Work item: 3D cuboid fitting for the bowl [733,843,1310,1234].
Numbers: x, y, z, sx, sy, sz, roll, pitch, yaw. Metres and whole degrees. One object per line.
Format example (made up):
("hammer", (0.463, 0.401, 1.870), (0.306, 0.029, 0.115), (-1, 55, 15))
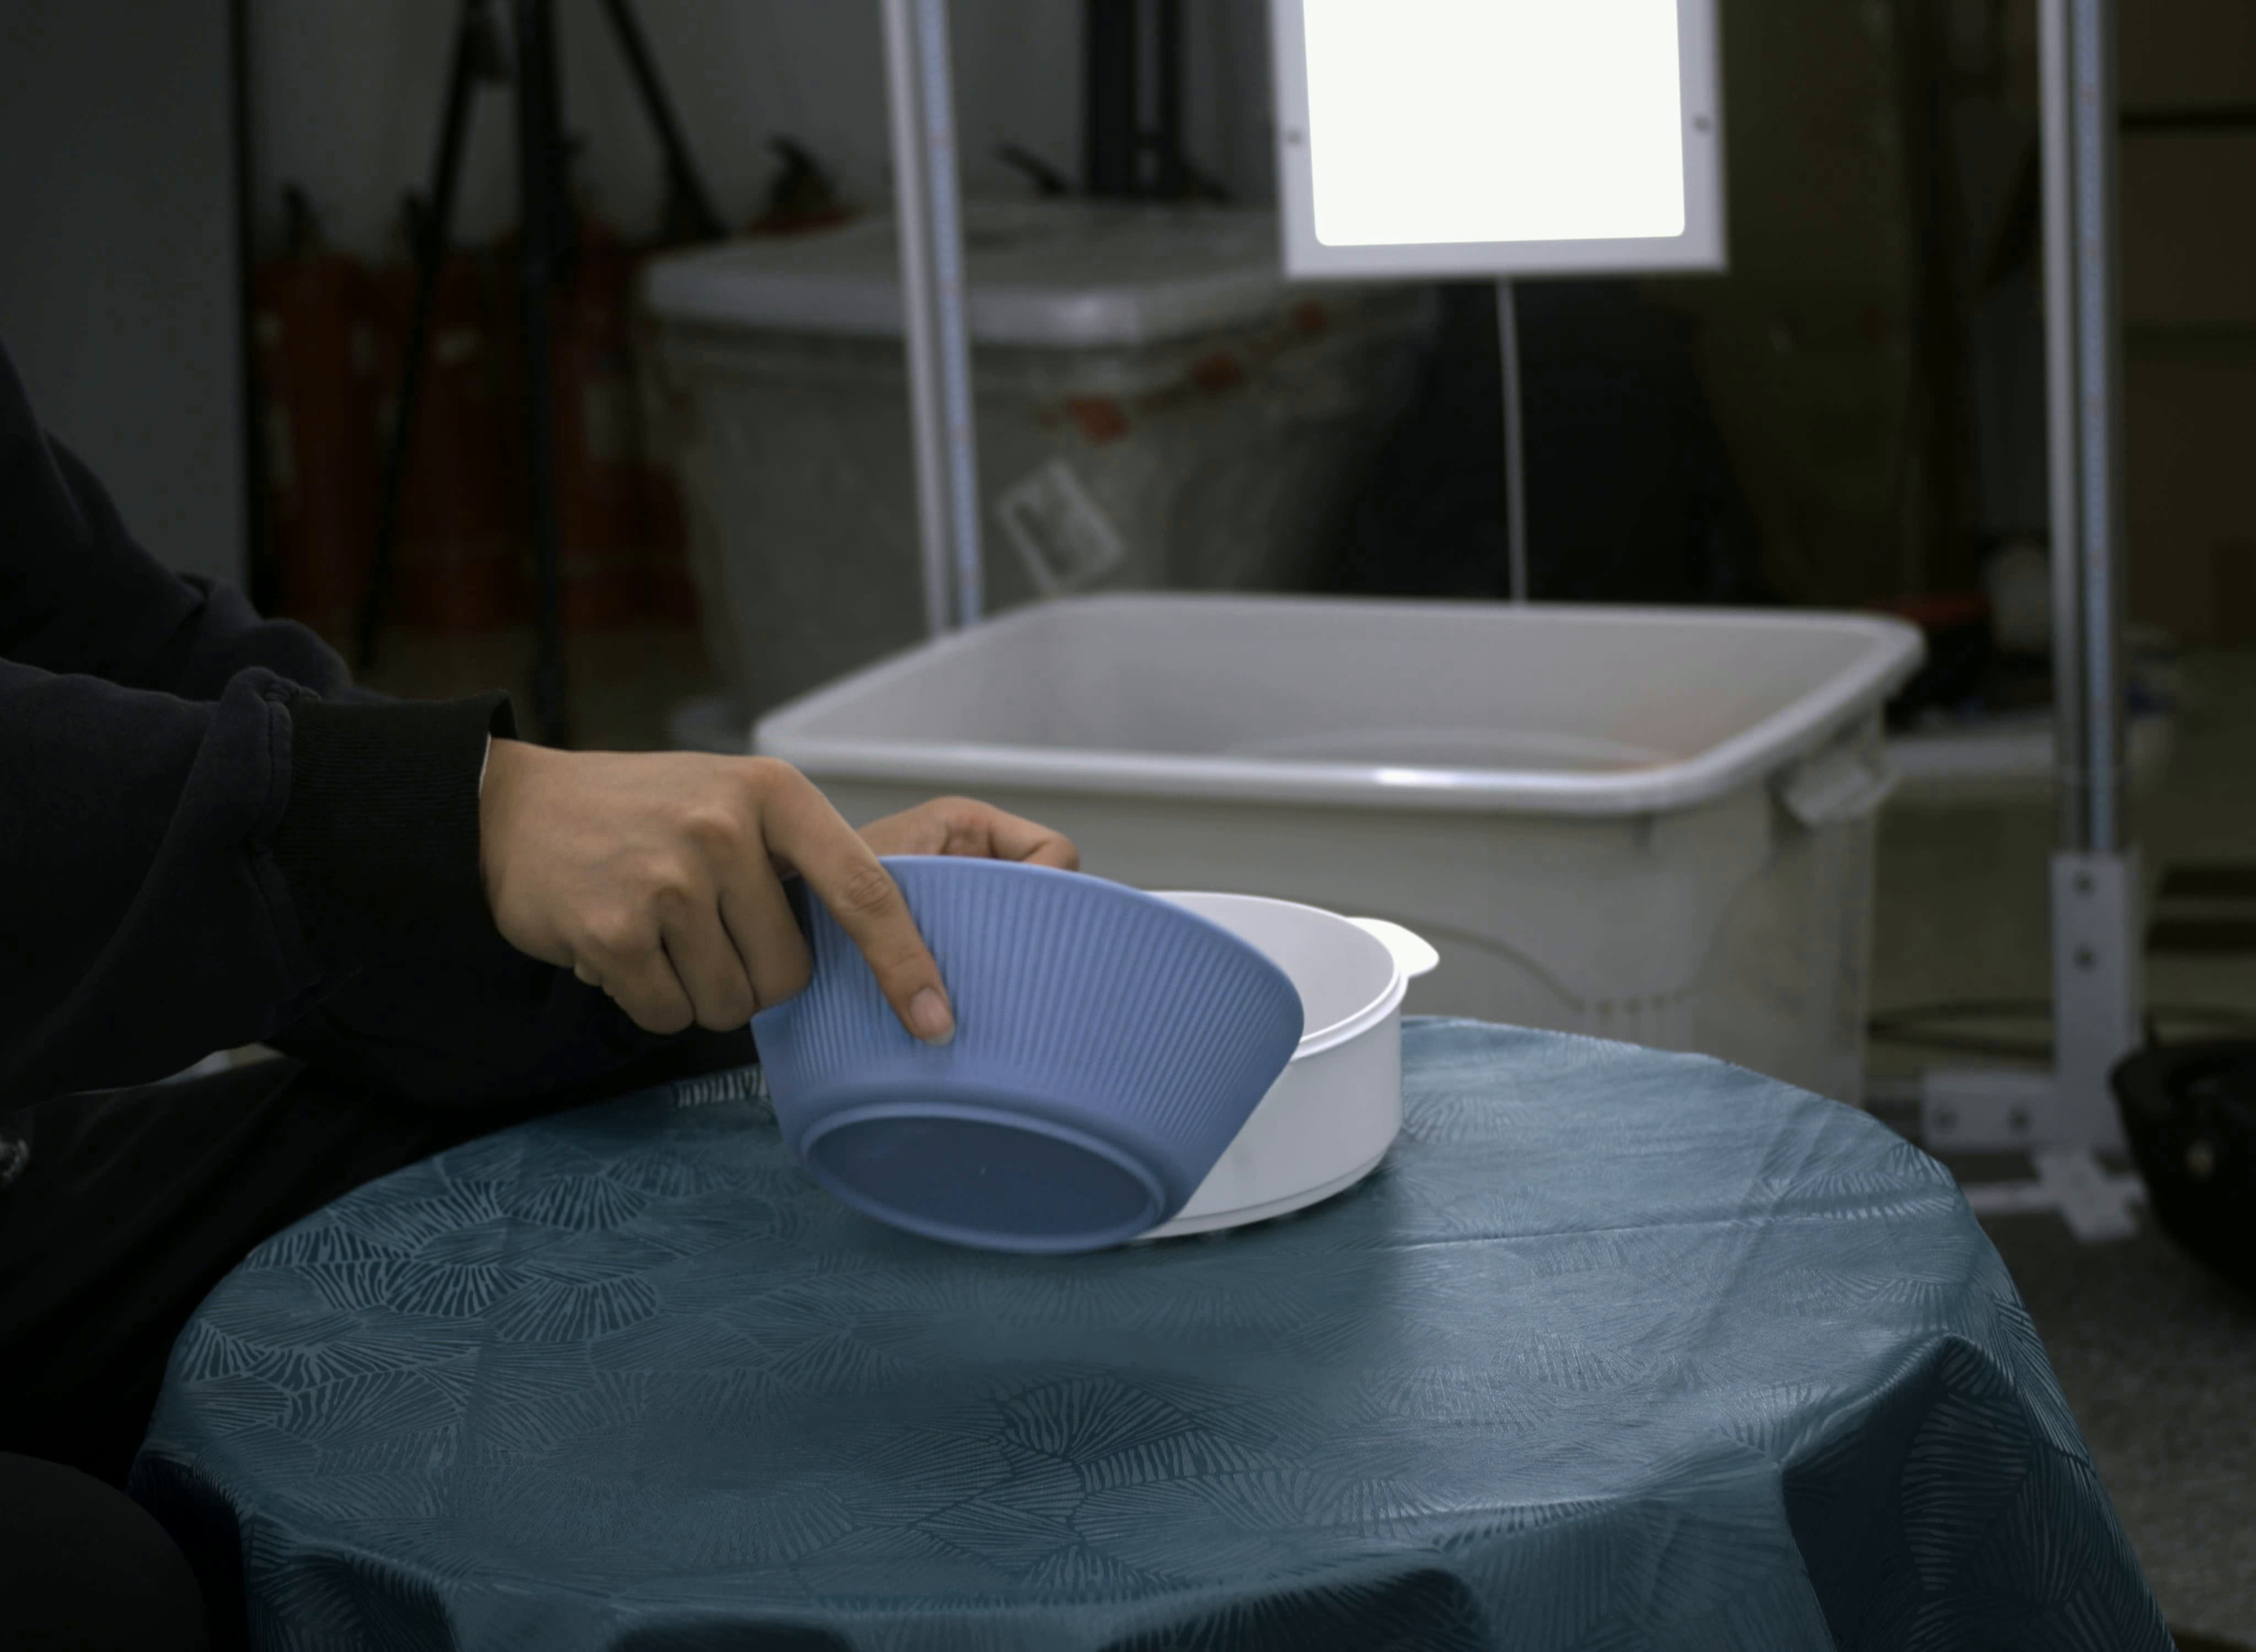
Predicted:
("bowl", (-0.036, 0.070, 1.642), (0.176, 0.070, 0.177), (8, -24, 2))

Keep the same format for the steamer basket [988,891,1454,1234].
("steamer basket", (0.003, 0.082, 1.918), (0.227, 0.069, 0.204), (-7, 17, -18))
